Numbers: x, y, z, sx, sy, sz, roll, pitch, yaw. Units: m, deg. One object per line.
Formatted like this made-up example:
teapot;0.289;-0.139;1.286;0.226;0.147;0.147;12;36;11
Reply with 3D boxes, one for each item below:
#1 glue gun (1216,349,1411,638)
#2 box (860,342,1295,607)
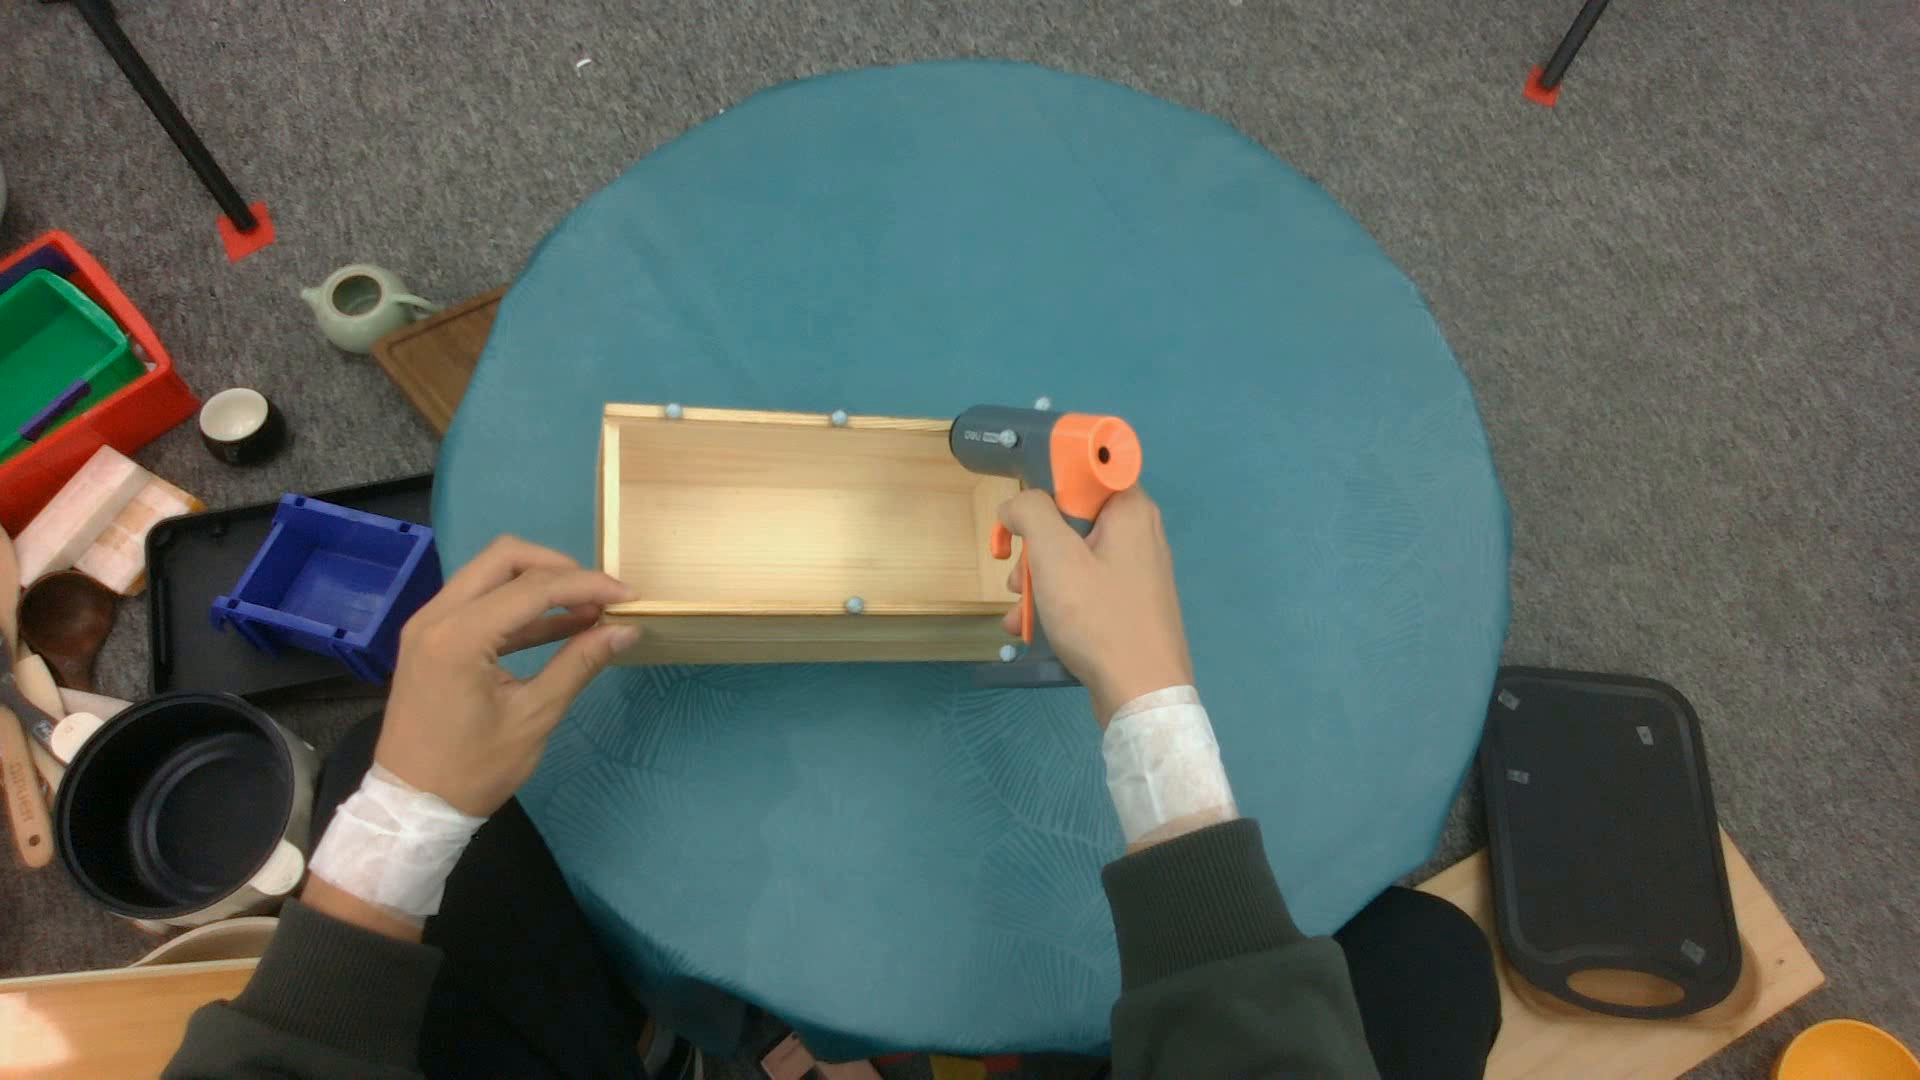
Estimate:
glue gun;0.154;-0.026;0.632;0.041;0.117;0.140;6;82;-24
box;0.058;-0.030;0.703;0.211;0.080;0.108;2;72;-7
